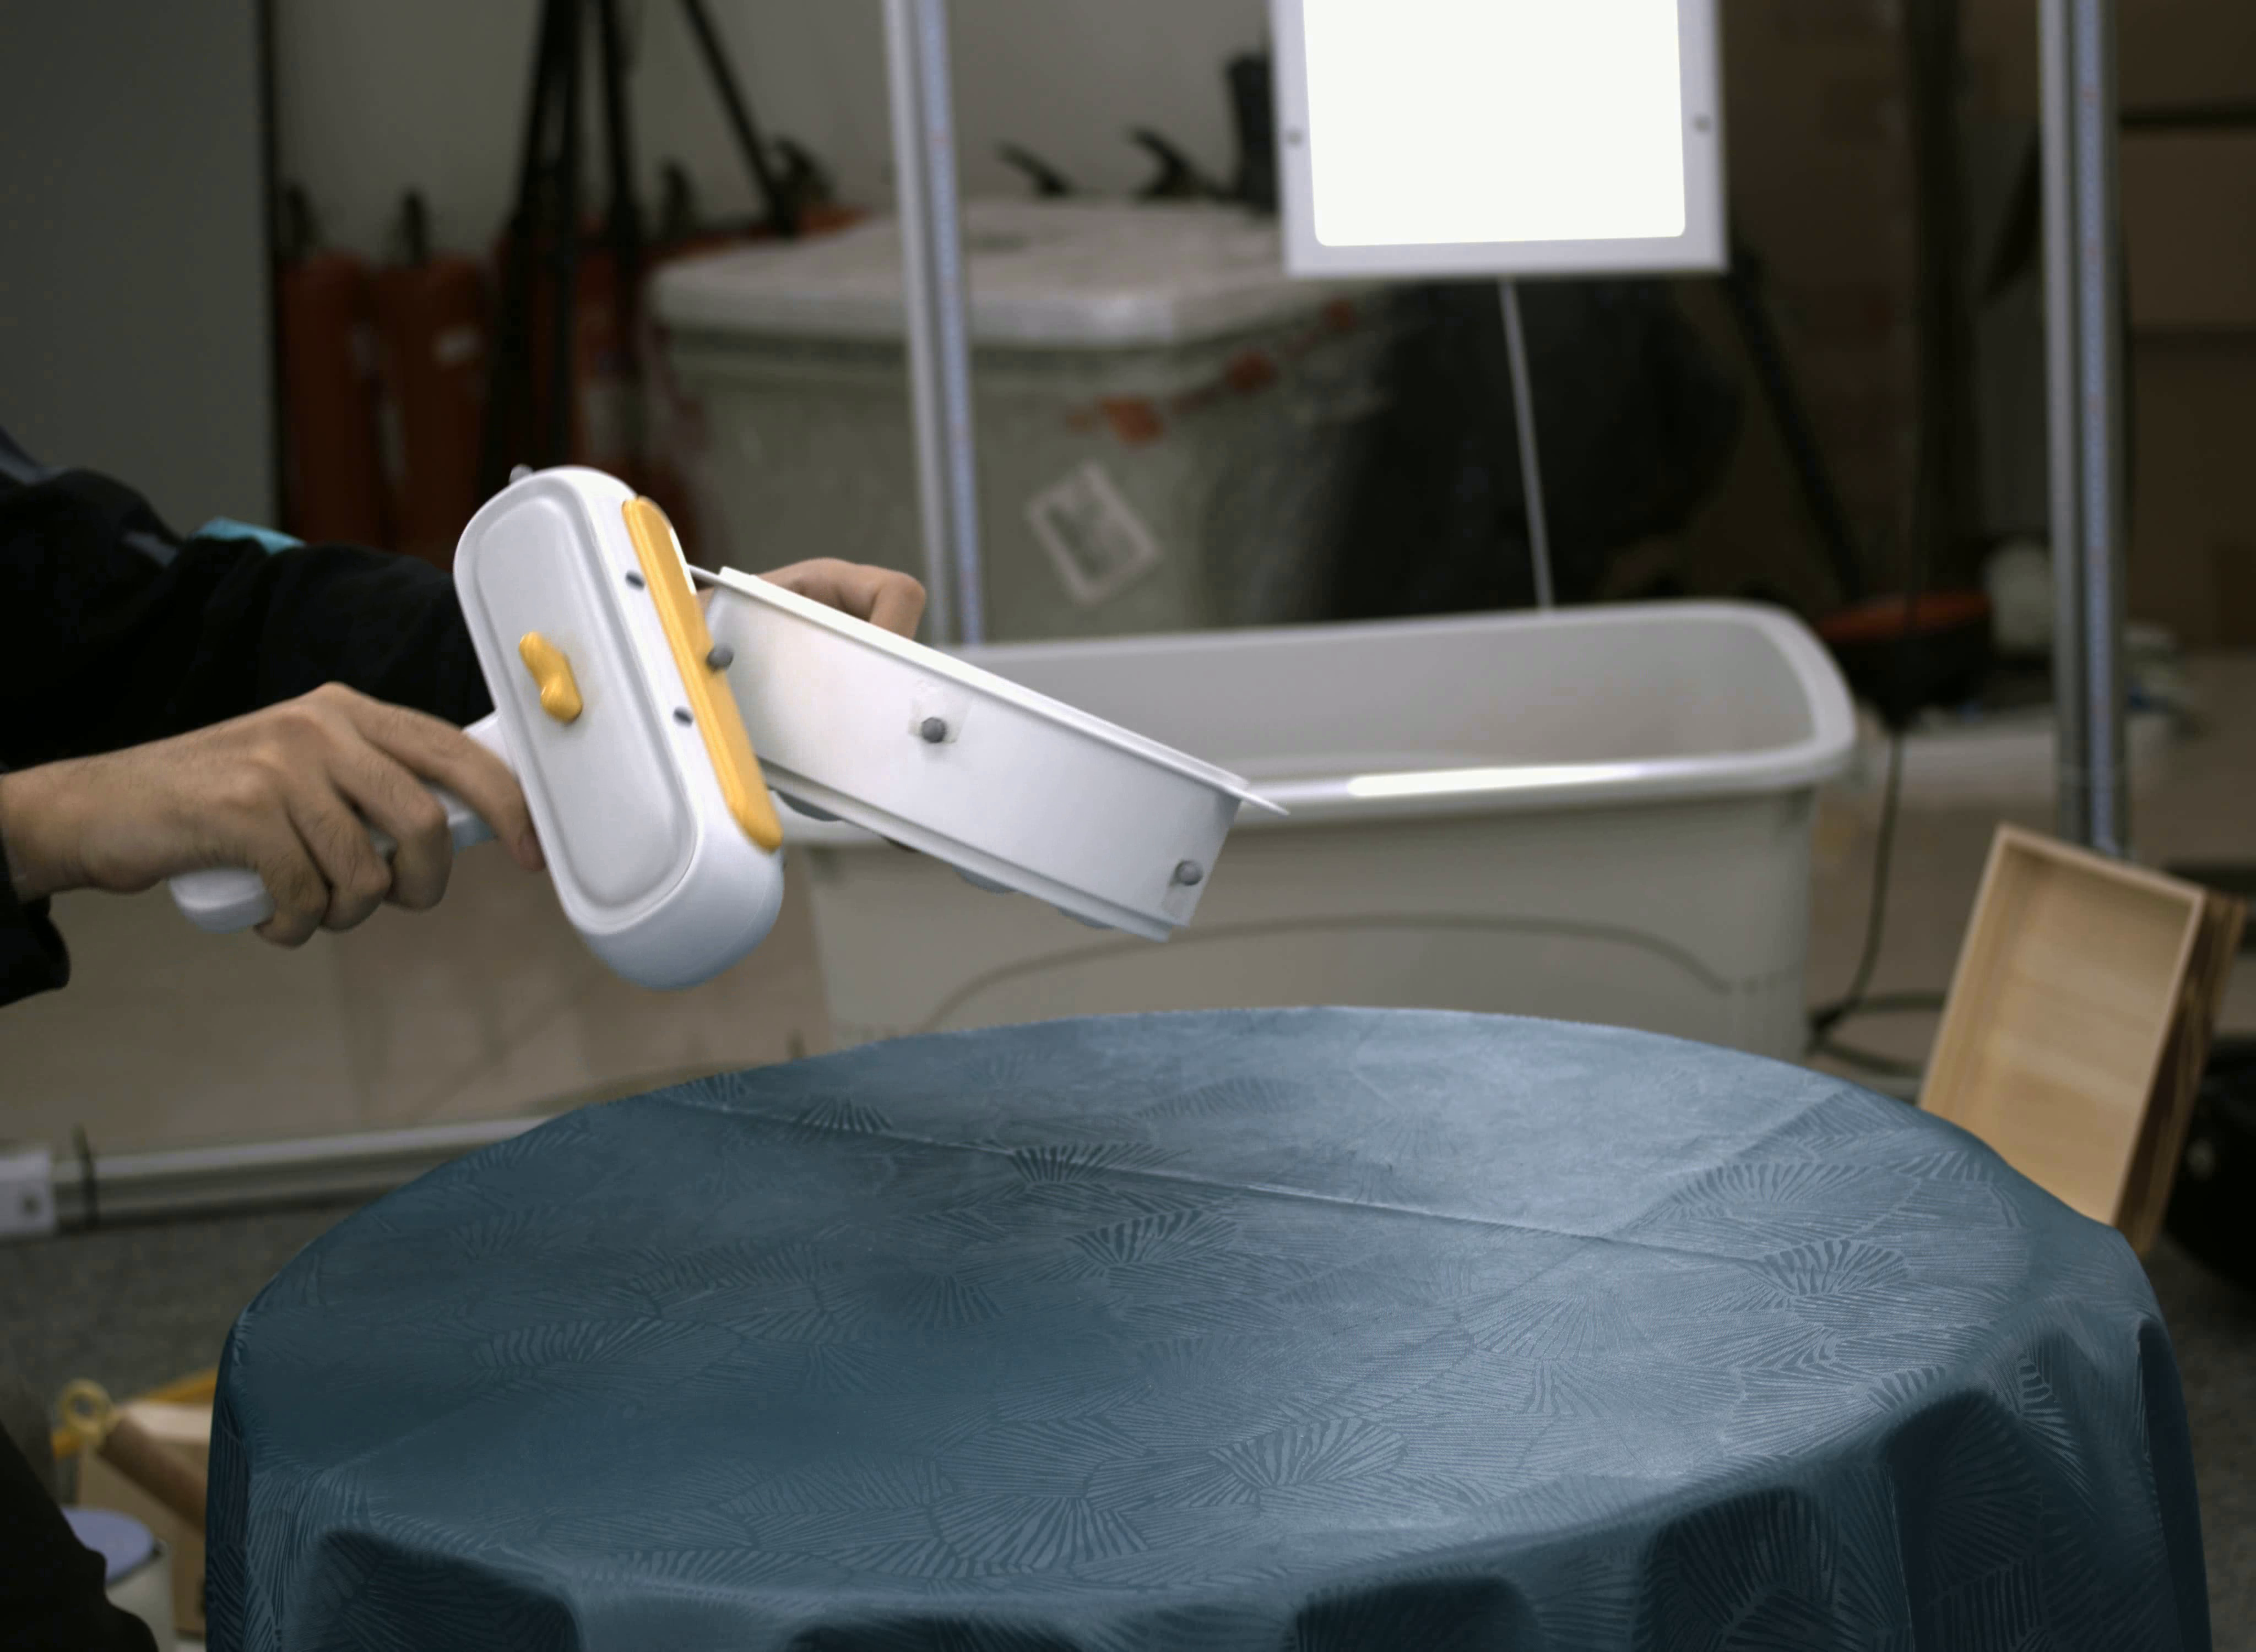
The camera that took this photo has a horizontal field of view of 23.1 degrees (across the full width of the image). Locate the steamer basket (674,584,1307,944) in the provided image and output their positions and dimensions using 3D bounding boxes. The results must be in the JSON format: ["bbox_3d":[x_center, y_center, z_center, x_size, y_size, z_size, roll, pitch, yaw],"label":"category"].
[{"bbox_3d":[-0.056,-0.018,1.883,0.231,0.069,0.201,19,-1,7],"label":"steamer basket"}]

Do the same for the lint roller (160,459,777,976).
[{"bbox_3d":[-0.223,-0.009,1.797,0.193,0.194,0.073,-31,-29,9],"label":"lint roller"}]
